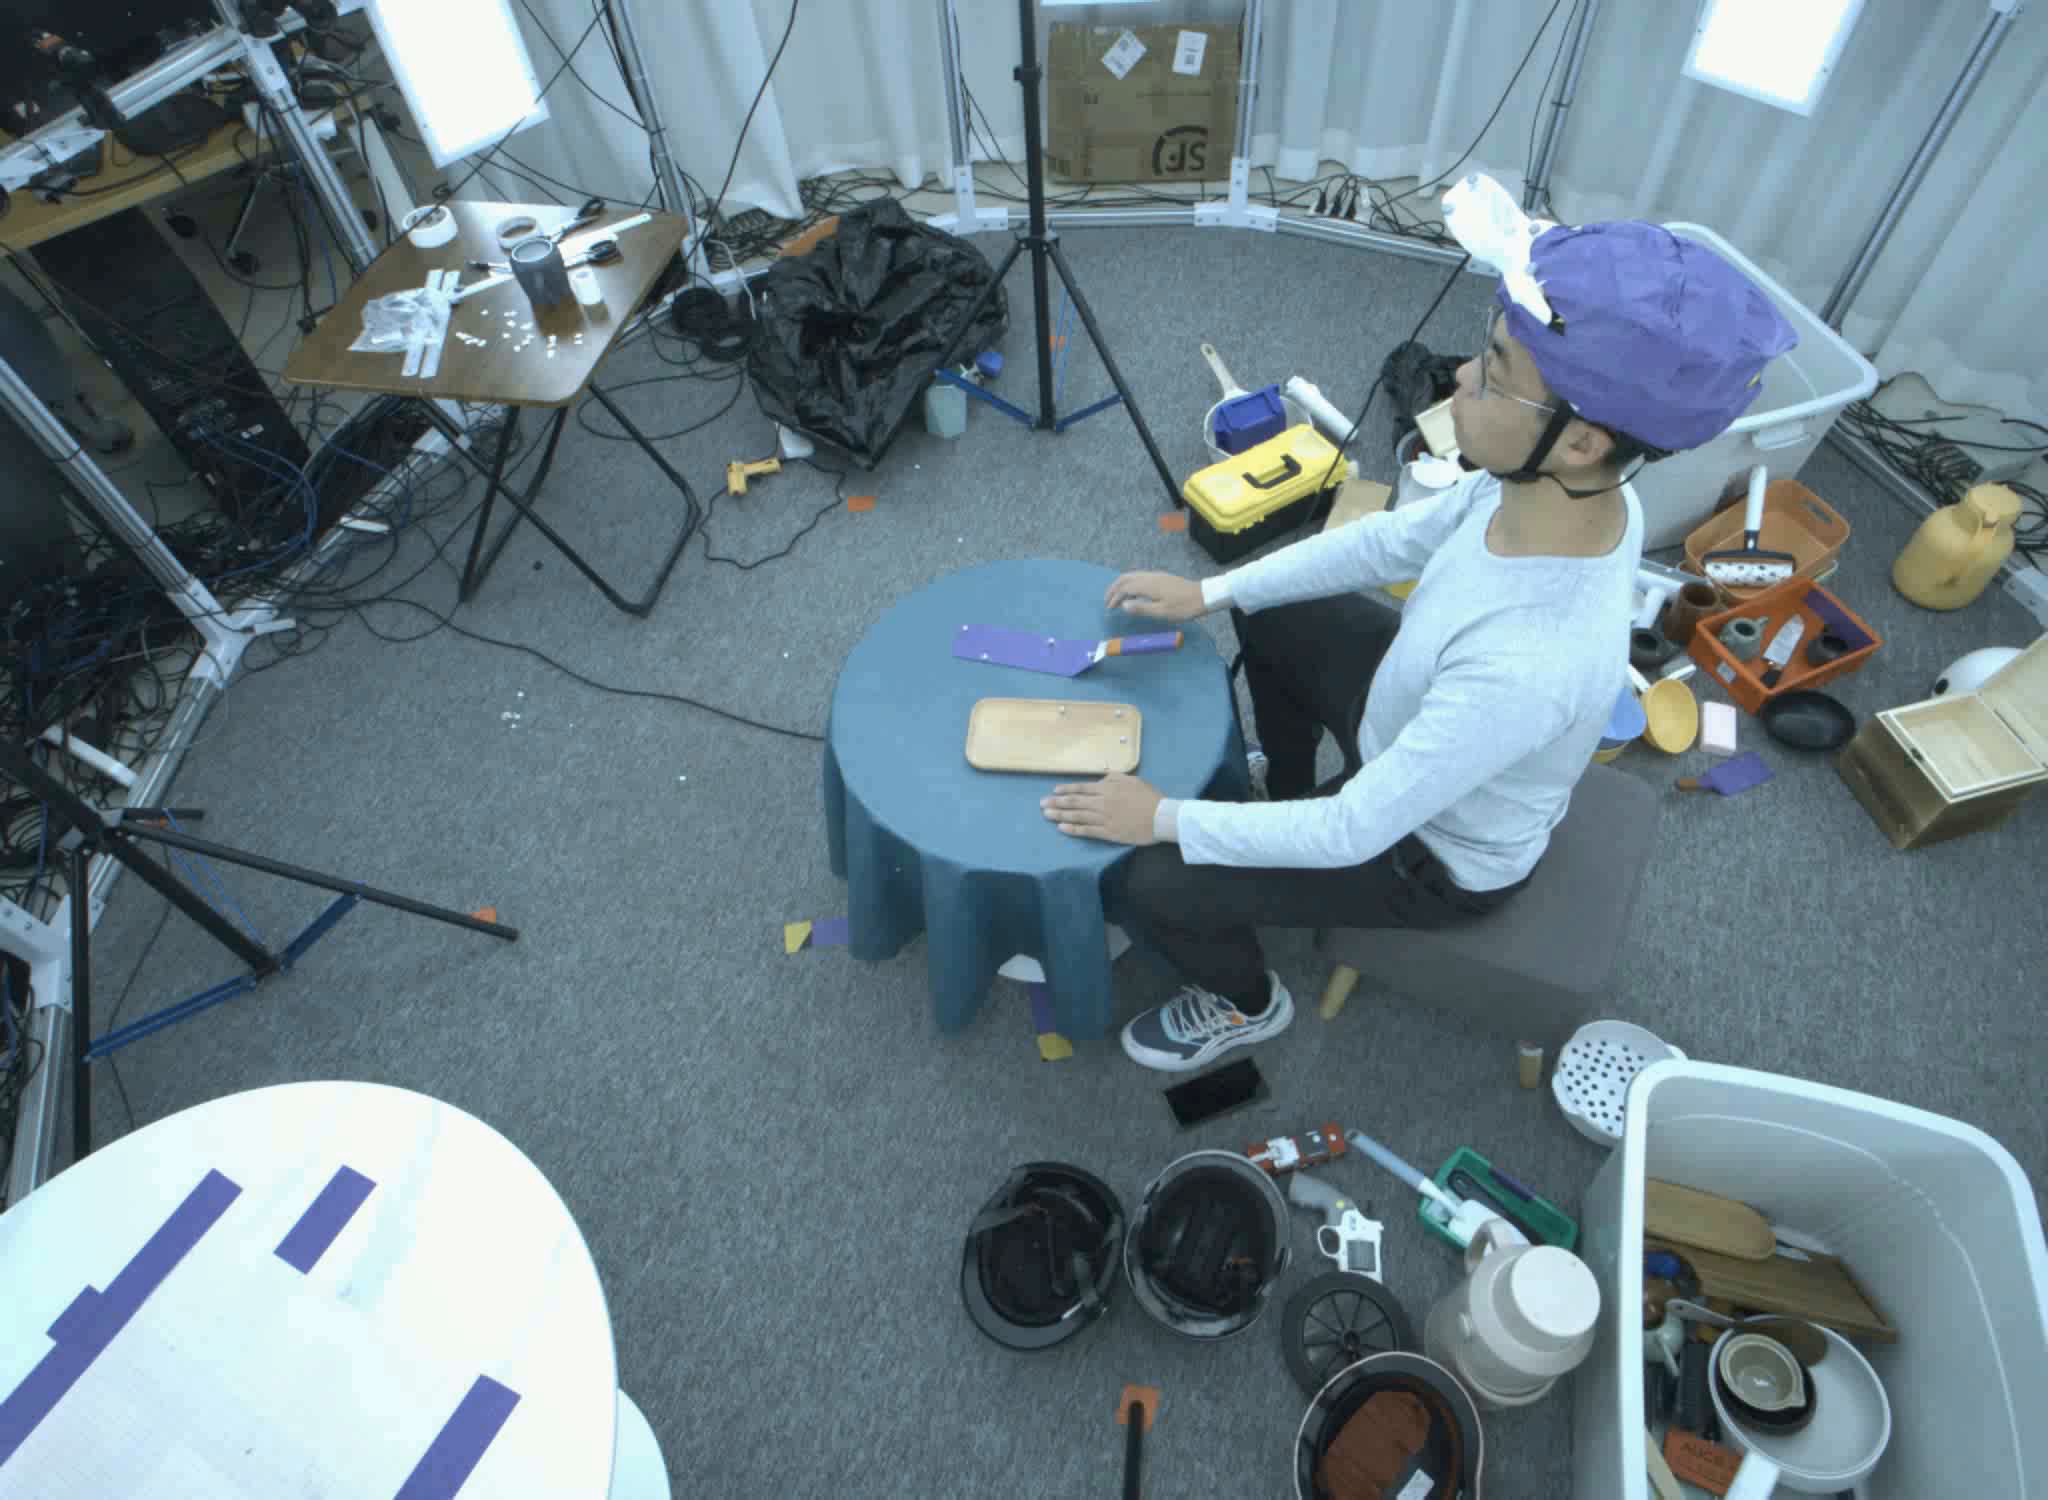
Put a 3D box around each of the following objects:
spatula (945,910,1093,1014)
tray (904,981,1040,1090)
[{"bbox_3d":[-0.012,0.405,2.345,0.350,0.088,0.076,19,55,46],"label":"spatula"},{"bbox_3d":[-0.100,0.533,2.296,0.247,0.023,0.131,27,57,19],"label":"tray"}]
